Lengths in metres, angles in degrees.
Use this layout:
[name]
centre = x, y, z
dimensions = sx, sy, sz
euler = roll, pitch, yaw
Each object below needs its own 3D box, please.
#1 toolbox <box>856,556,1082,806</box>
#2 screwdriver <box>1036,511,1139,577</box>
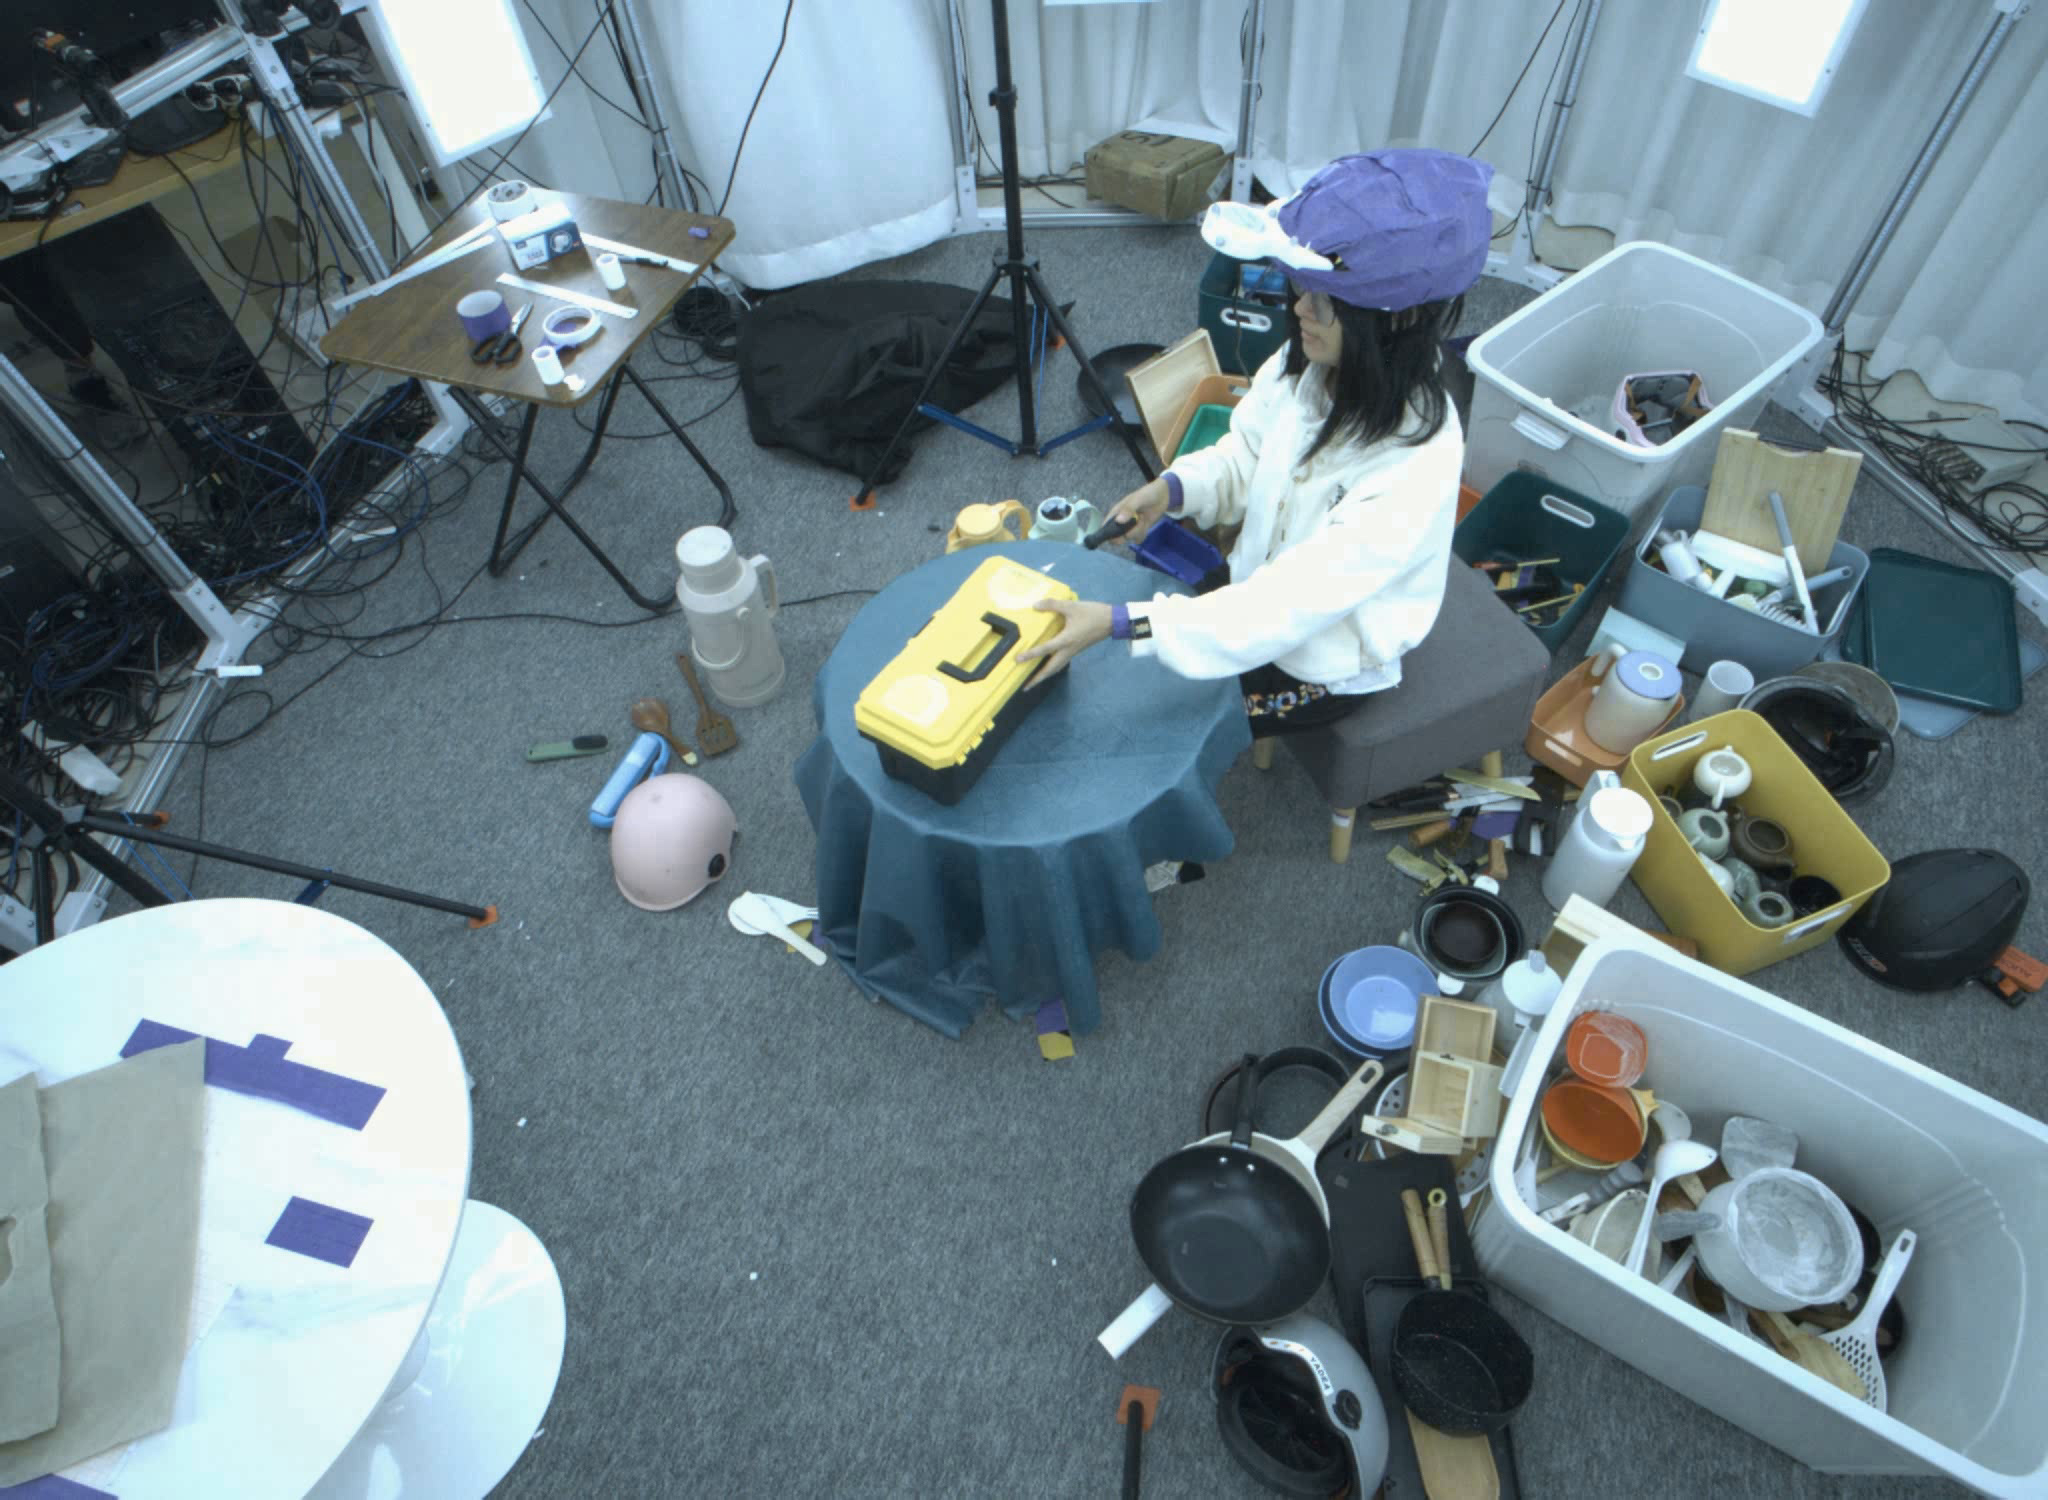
[toolbox]
centre = -0.072, -0.100, 1.754
dimensions = 0.178, 0.175, 0.353
euler = 28, 61, 21
[screwdriver]
centre = 0.096, -0.302, 1.816
dimensions = 0.199, 0.032, 0.031
euler = -37, 61, -26
